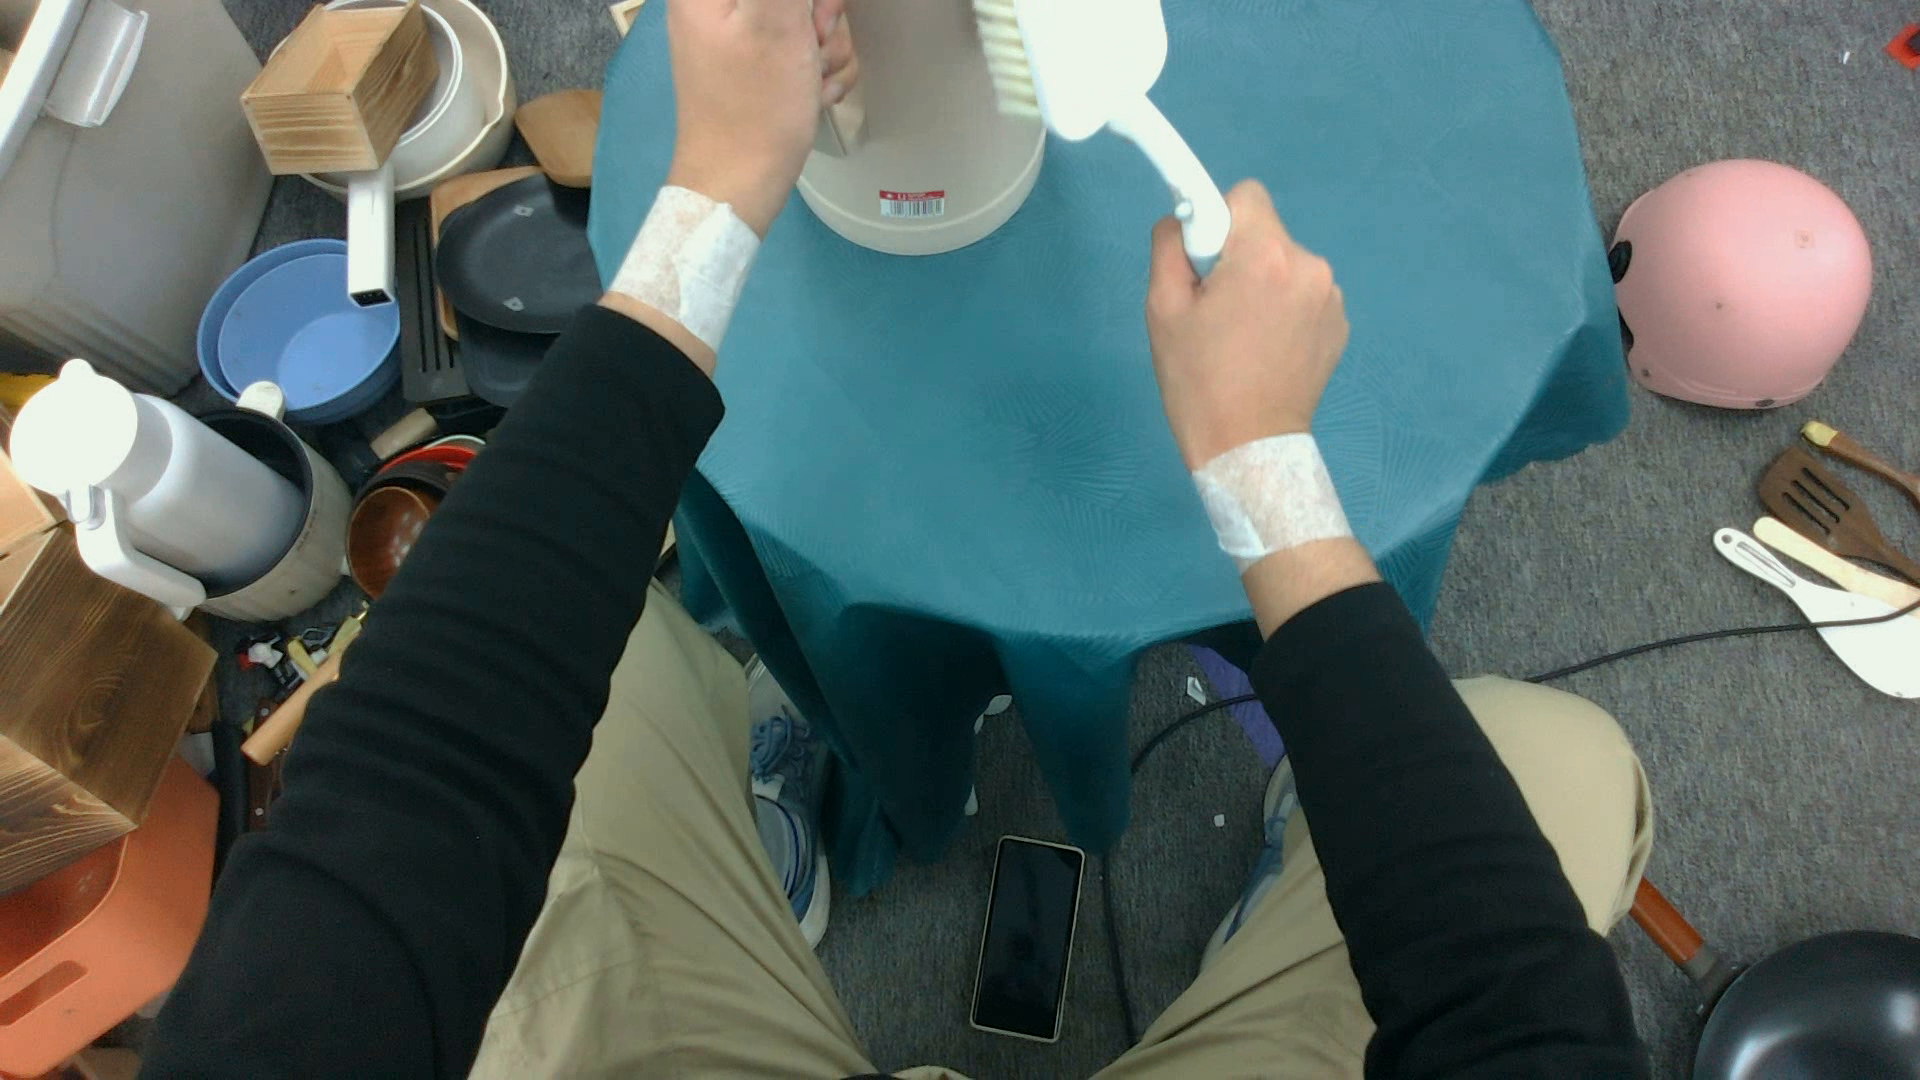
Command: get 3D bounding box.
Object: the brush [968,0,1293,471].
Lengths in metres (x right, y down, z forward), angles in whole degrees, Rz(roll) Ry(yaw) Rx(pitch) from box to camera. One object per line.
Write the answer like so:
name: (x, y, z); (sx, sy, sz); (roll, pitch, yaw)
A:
brush: (0.075, -0.163, 0.636); (0.083, 0.324, 0.085); (-16, 38, 17)

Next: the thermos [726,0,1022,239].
thermos: (-0.050, -0.296, 0.648); (0.175, 0.405, 0.207); (19, 74, 5)
